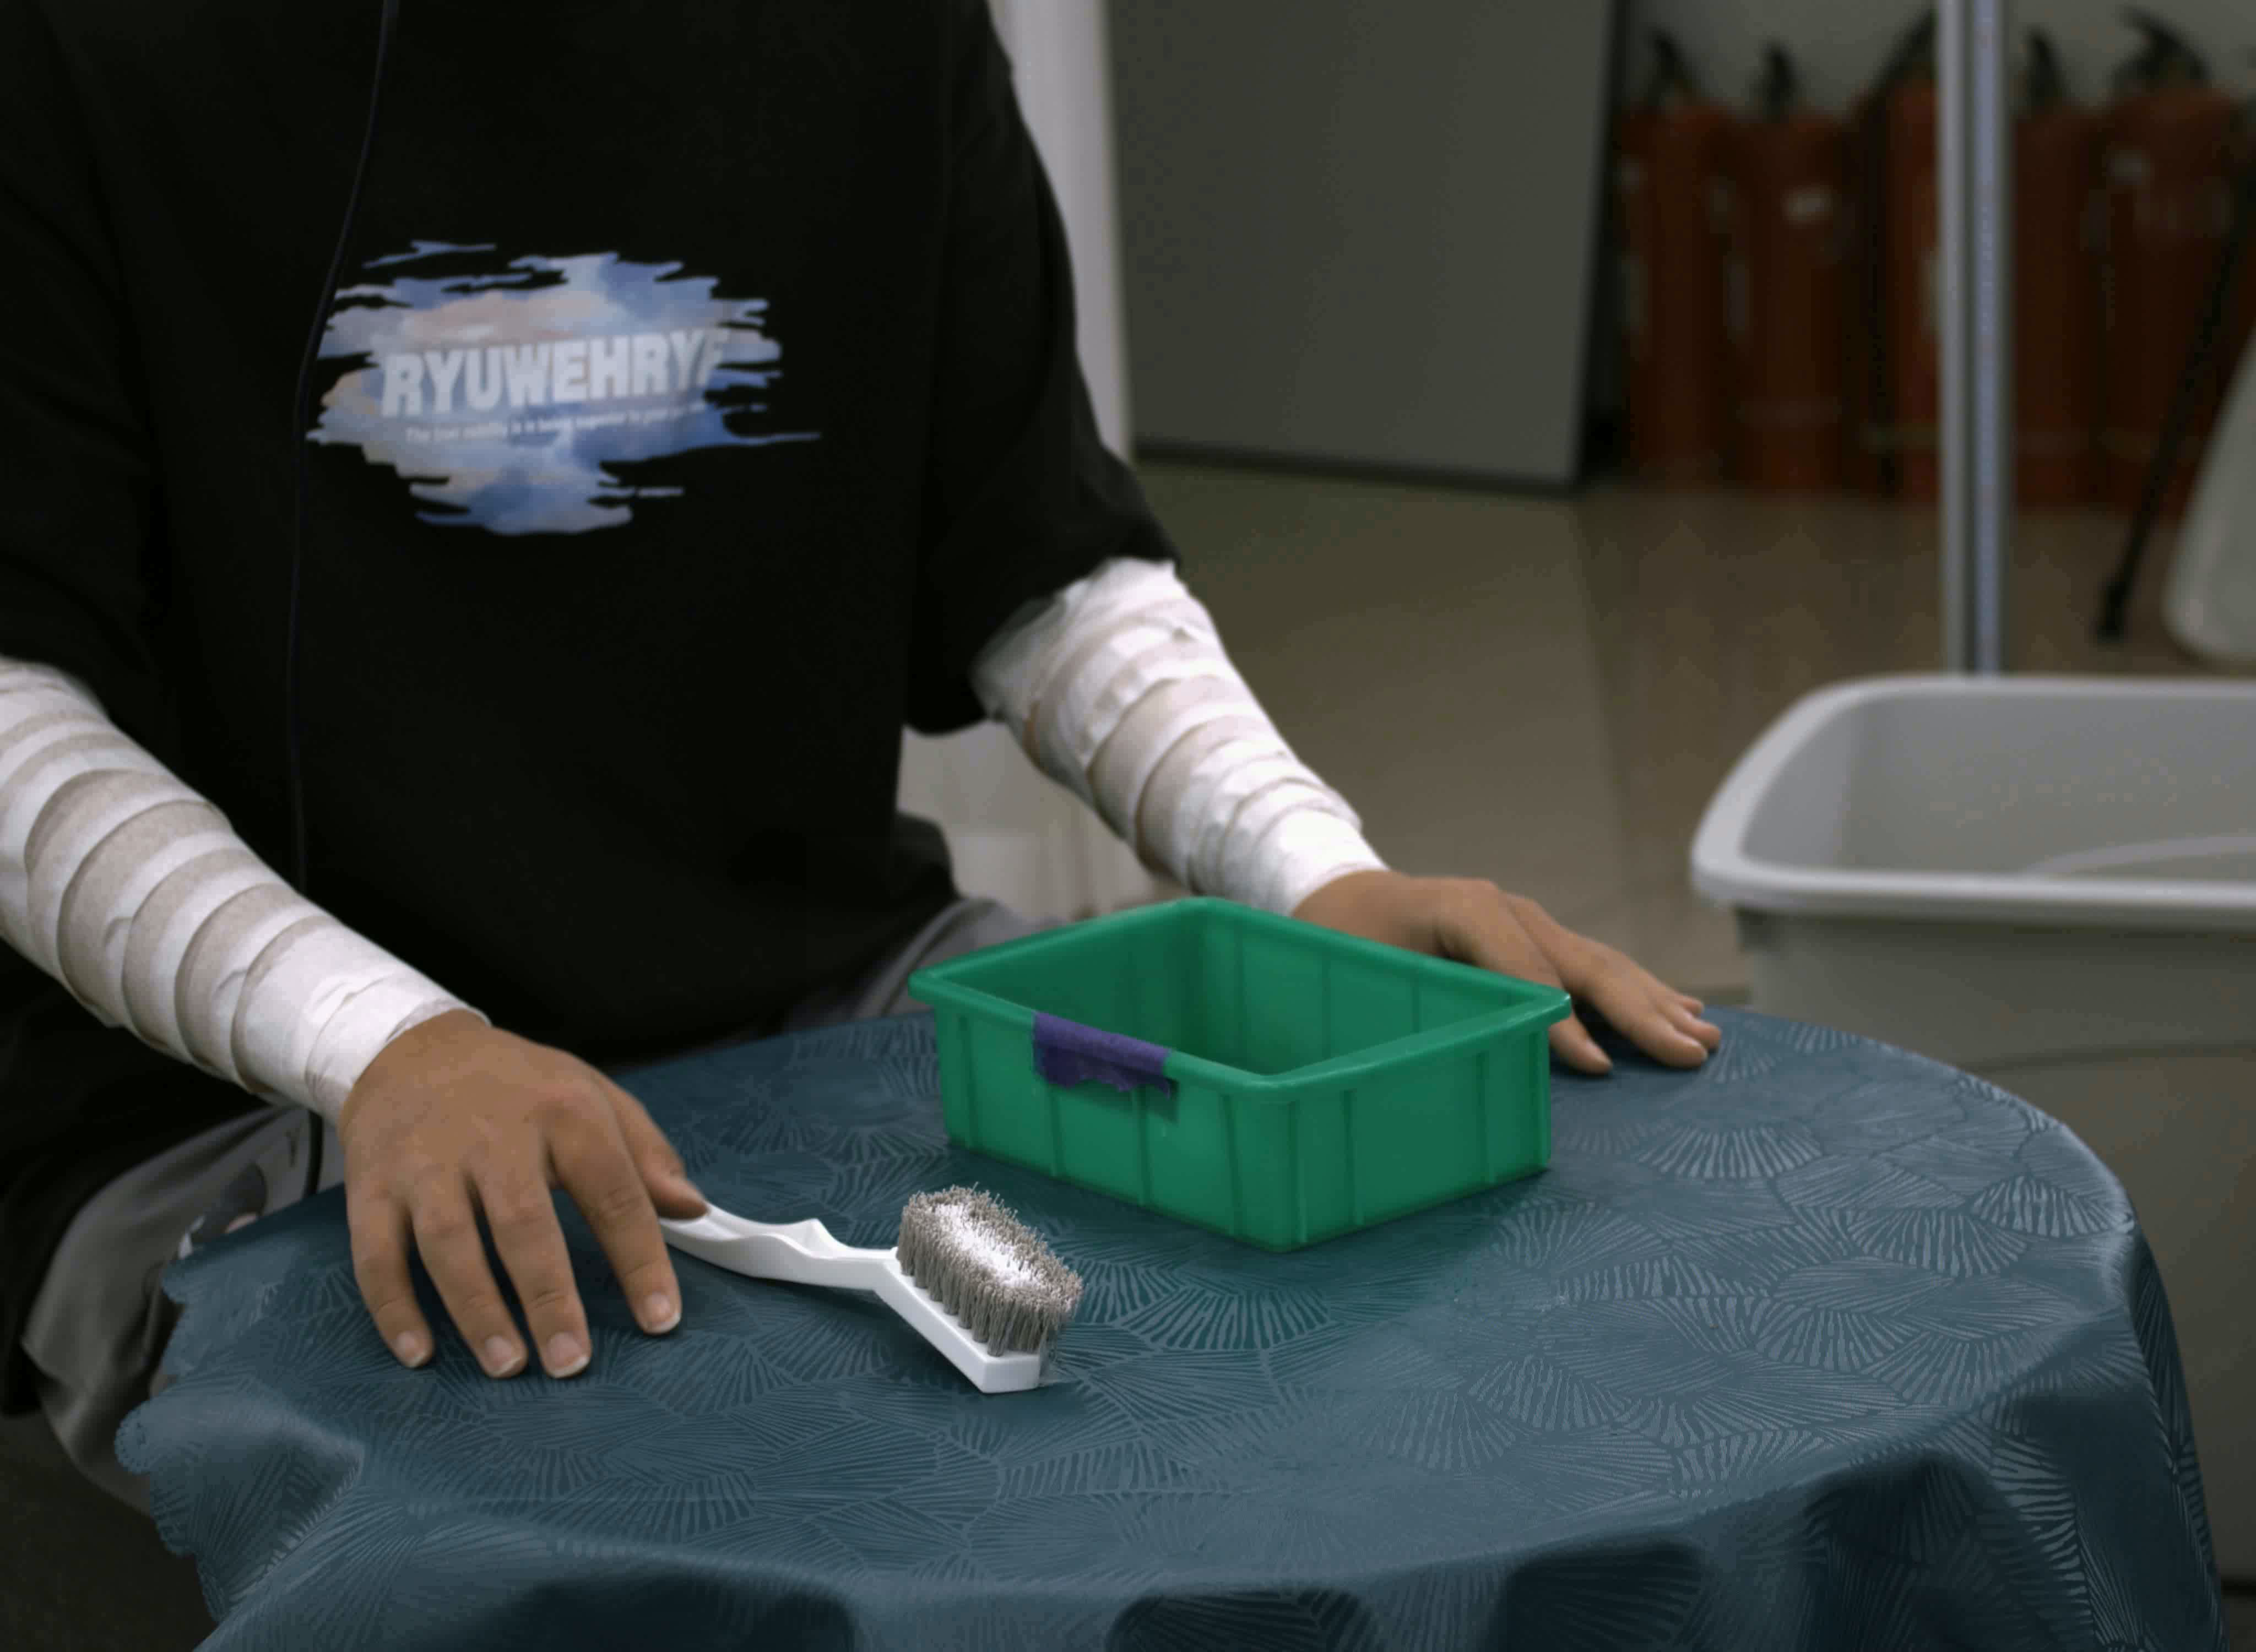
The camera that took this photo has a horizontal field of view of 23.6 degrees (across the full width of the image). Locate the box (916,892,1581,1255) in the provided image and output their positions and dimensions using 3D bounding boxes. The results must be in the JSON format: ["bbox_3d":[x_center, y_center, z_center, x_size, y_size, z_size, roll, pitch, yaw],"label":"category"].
[{"bbox_3d":[0.040,0.081,1.792,0.136,0.066,0.212,-18,20,-36],"label":"box"}]

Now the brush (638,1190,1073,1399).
[{"bbox_3d":[-0.091,0.125,1.680,0.033,0.051,0.246,-13,17,-30],"label":"brush"}]
